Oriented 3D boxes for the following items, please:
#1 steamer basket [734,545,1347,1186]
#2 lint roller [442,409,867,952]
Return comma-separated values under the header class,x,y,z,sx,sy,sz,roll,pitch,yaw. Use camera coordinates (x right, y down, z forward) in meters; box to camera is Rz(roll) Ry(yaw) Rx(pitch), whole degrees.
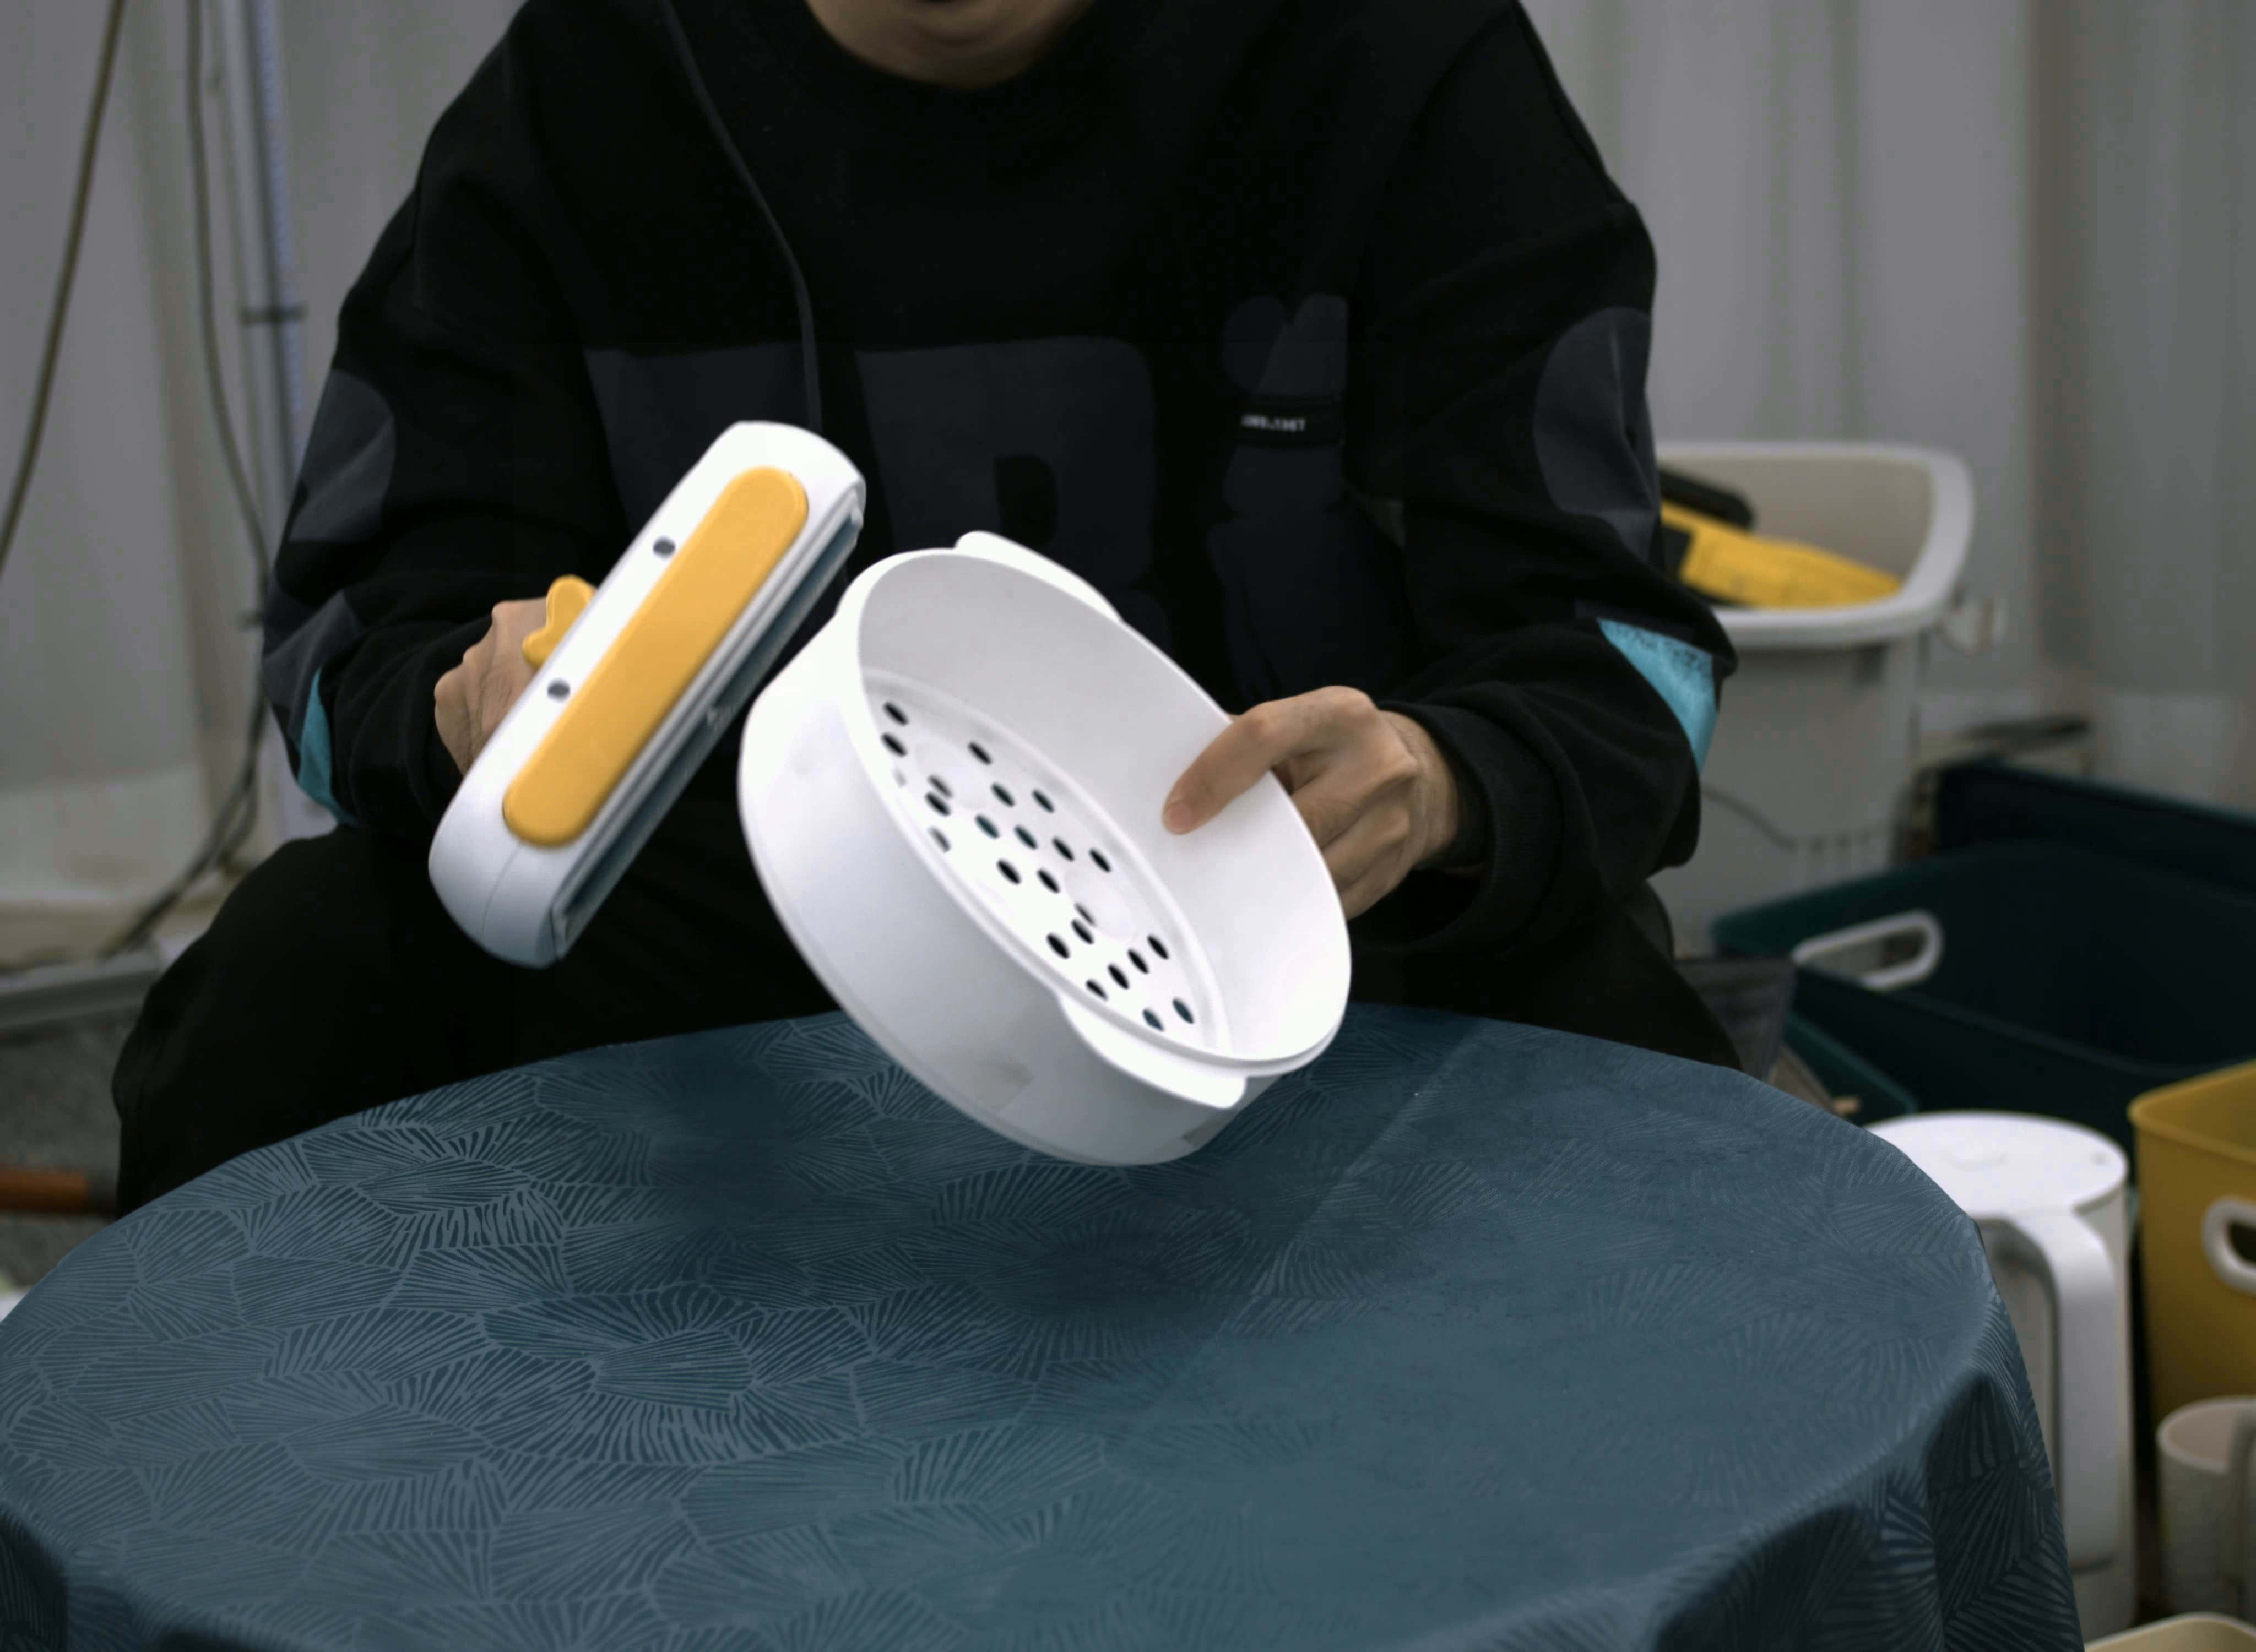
class,x,y,z,sx,sy,sz,roll,pitch,yaw
steamer basket,-0.027,0.016,1.654,0.199,0.069,0.234,28,31,-35
lint roller,-0.164,-0.032,1.763,0.074,0.194,0.191,30,-23,-2
